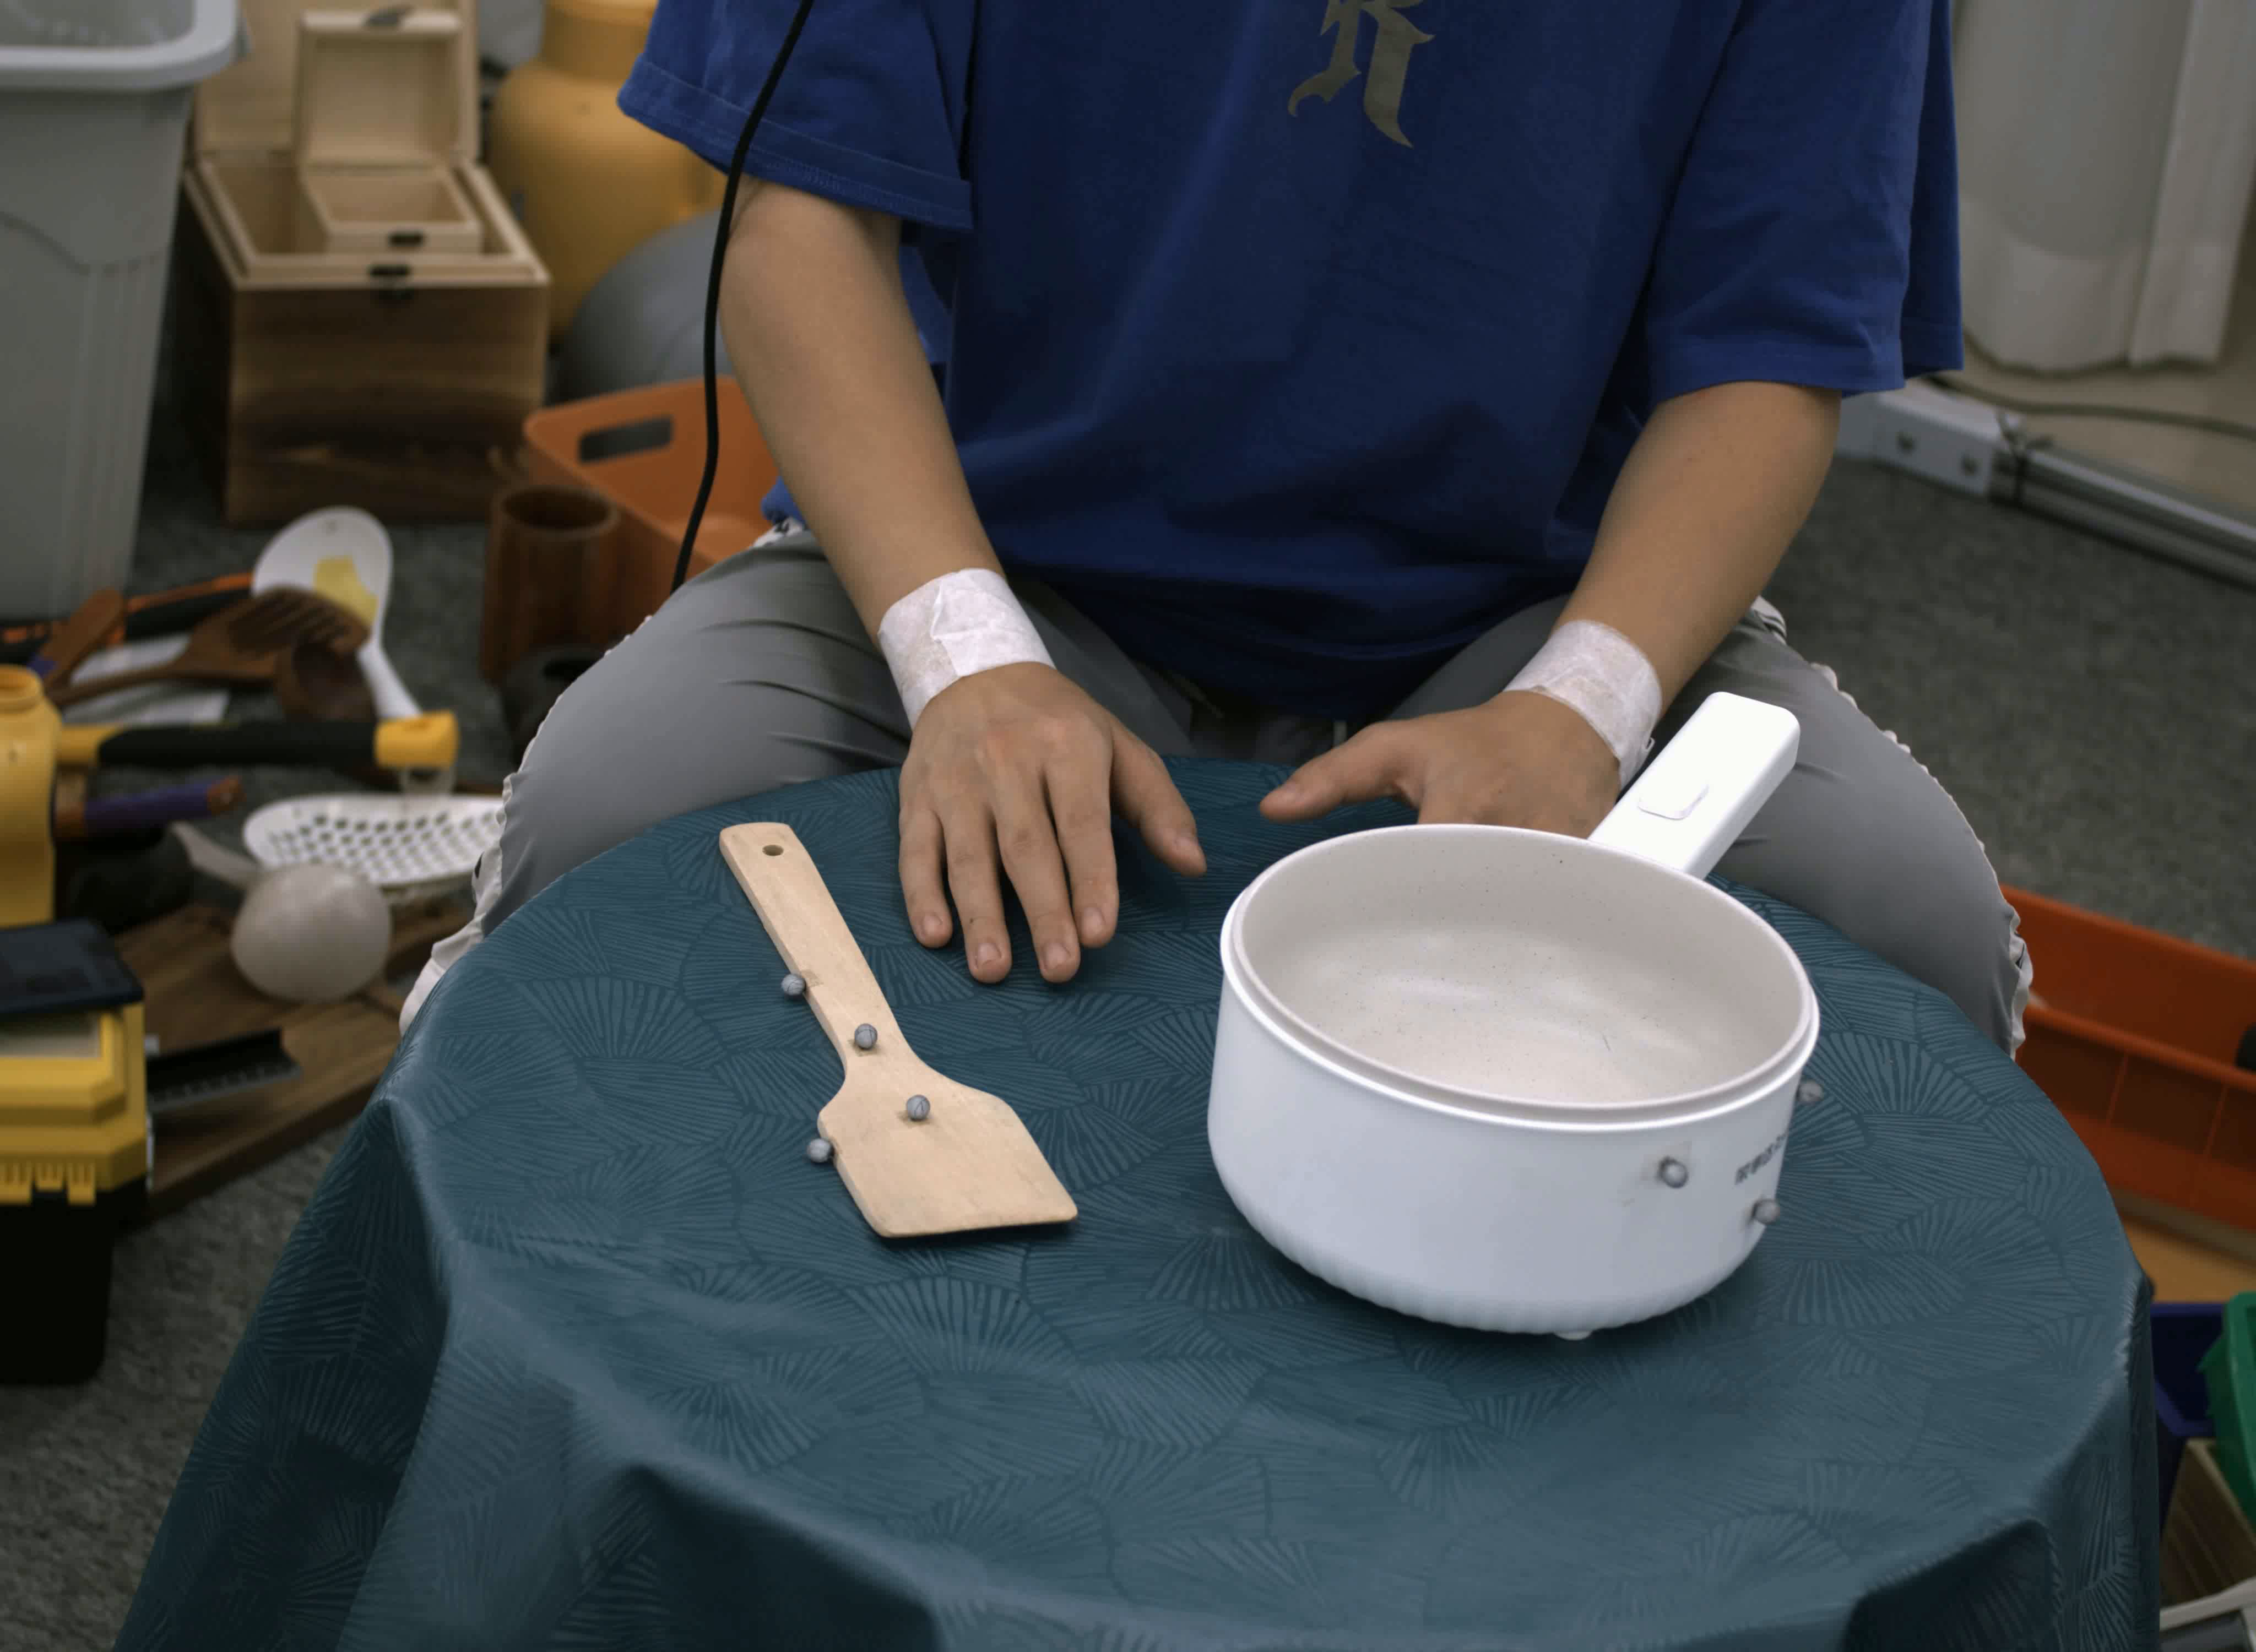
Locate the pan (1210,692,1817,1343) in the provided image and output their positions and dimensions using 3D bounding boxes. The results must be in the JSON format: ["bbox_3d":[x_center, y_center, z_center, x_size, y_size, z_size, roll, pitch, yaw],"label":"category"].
[{"bbox_3d":[0.157,0.061,1.856,0.202,0.102,0.355,14,28,20],"label":"pan"}]

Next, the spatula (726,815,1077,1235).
[{"bbox_3d":[-0.095,0.067,1.884,0.072,0.010,0.295,-5,29,-19],"label":"spatula"}]
